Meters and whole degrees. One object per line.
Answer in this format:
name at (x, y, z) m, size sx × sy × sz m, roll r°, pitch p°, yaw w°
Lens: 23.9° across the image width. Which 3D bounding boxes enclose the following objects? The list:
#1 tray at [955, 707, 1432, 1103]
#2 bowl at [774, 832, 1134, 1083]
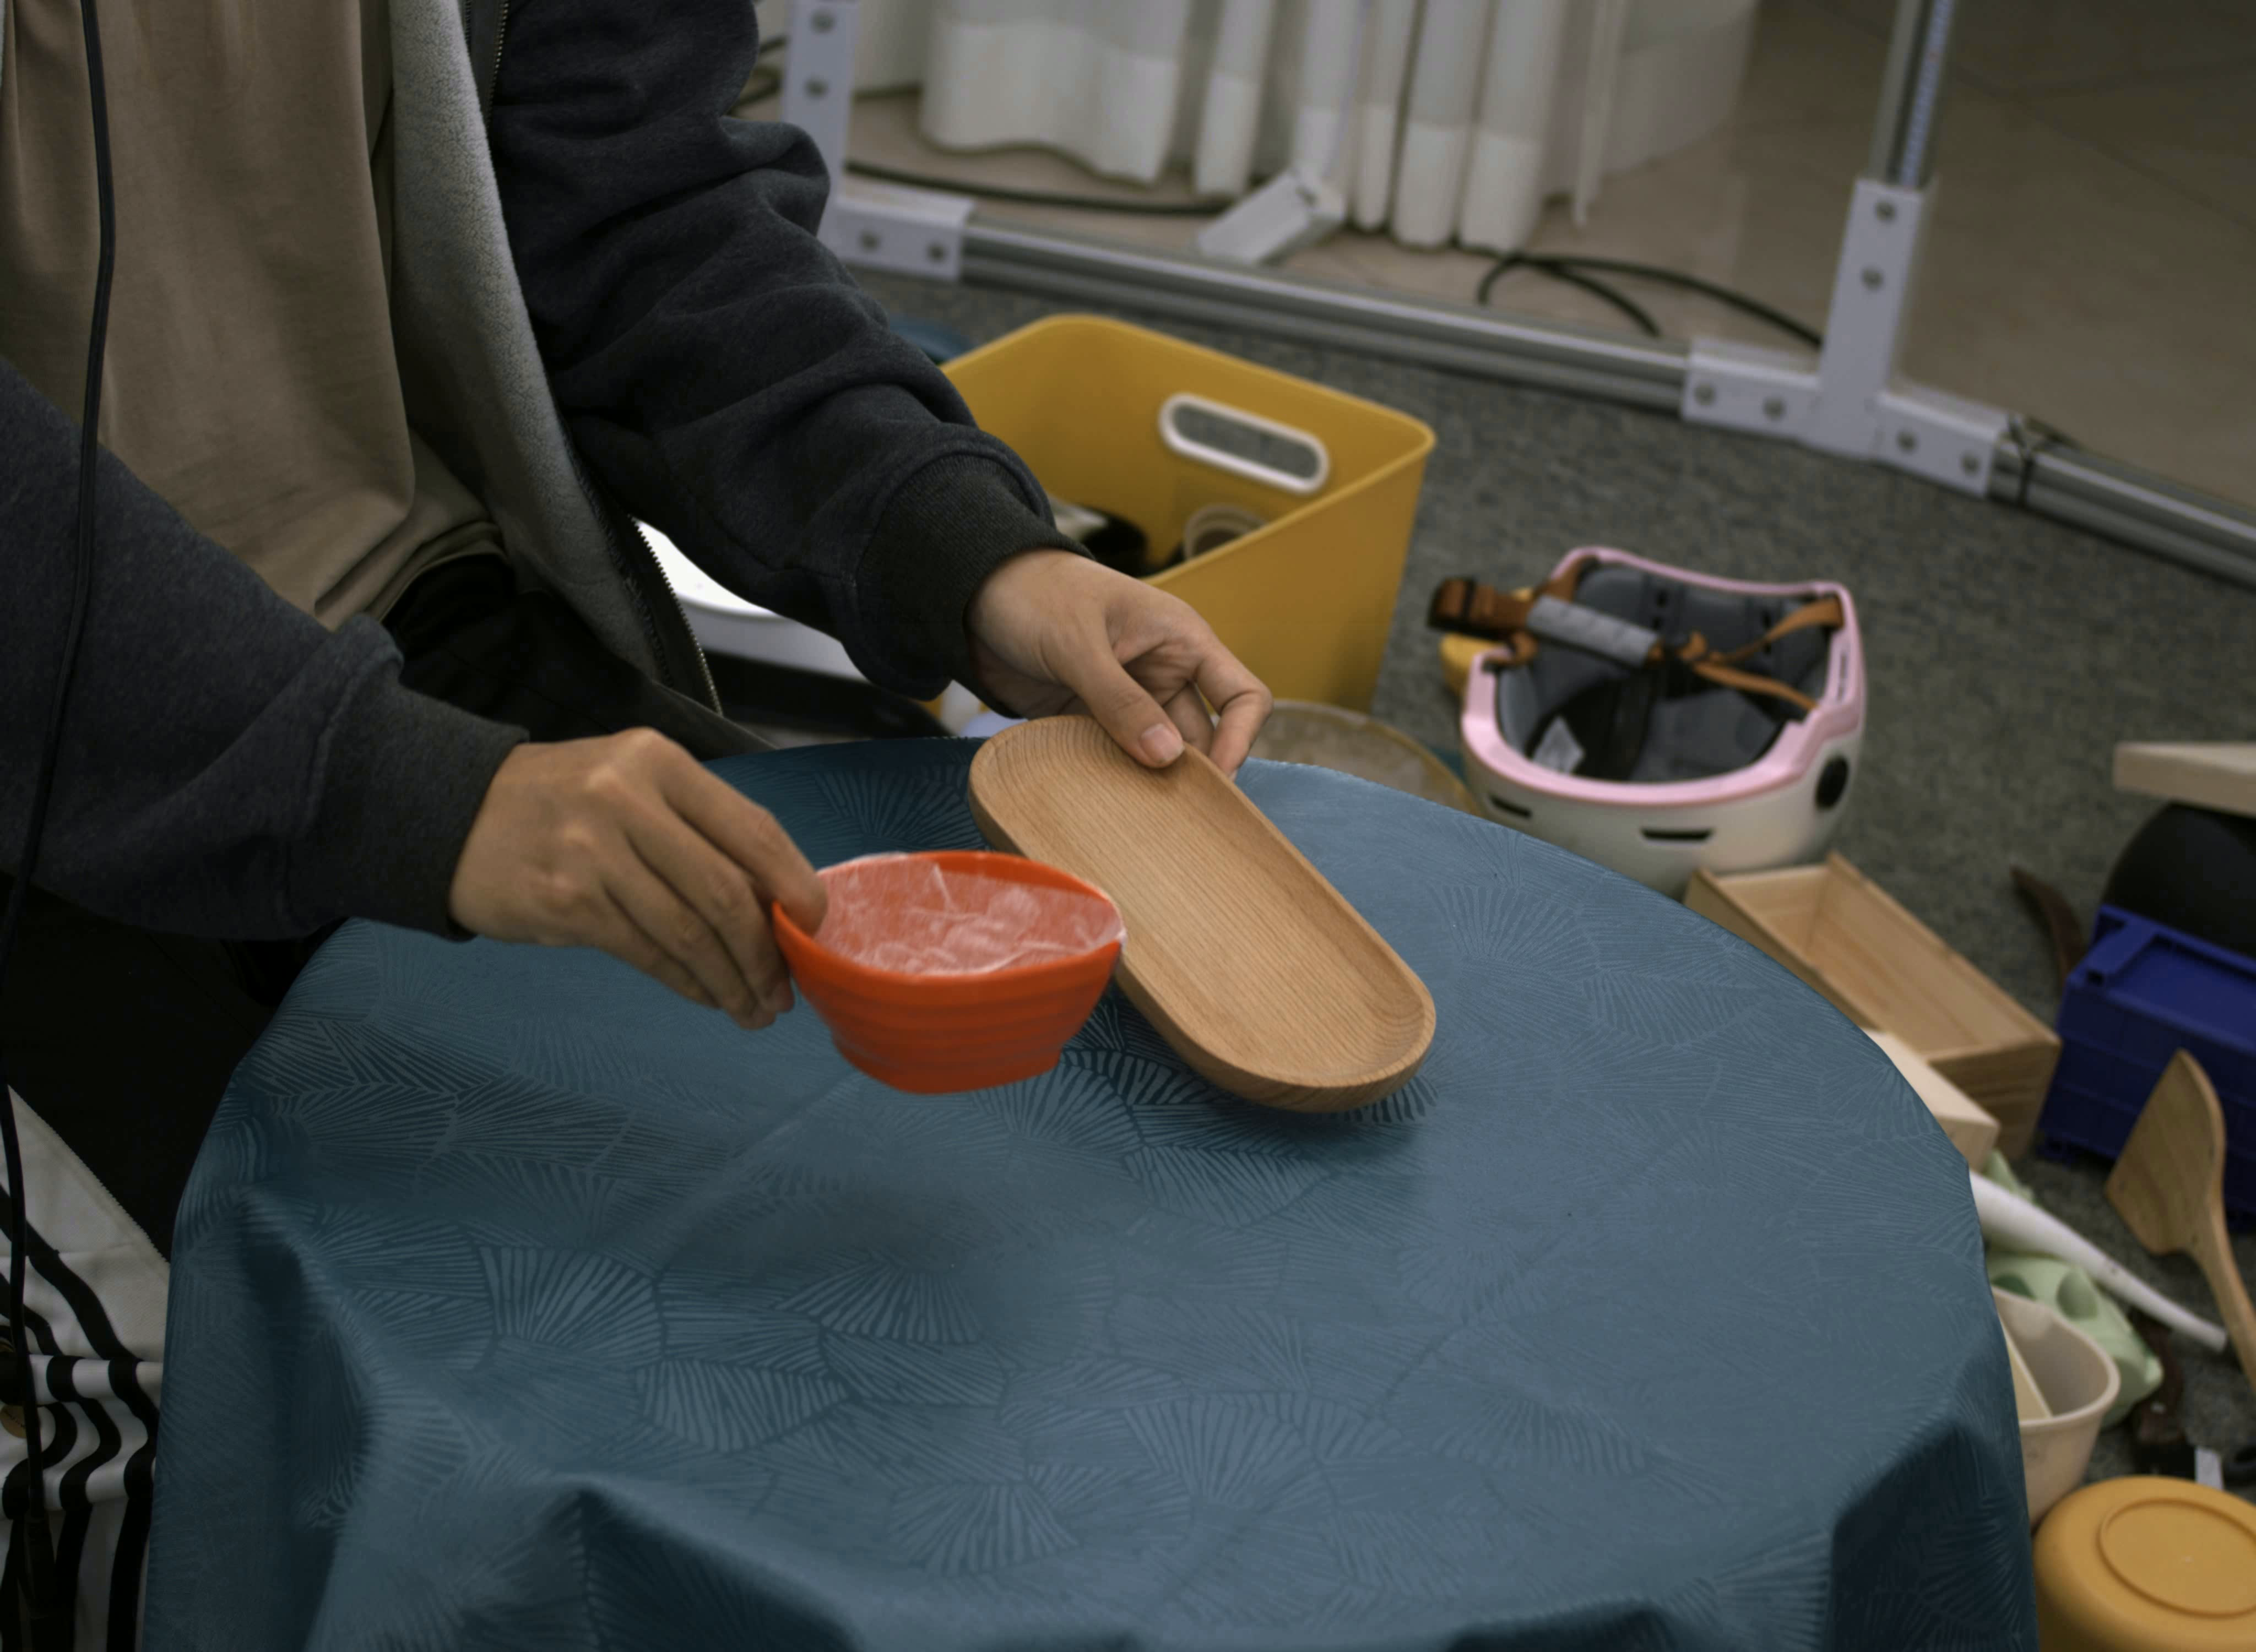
tray at (0.021, 0.027, 1.916) m, size 0.101 × 0.020 × 0.233 m, roll -13°, pitch 39°, yaw -32°
bowl at (-0.058, 0.046, 1.737) m, size 0.118 × 0.051 × 0.119 m, roll 1°, pitch 21°, yaw -1°
